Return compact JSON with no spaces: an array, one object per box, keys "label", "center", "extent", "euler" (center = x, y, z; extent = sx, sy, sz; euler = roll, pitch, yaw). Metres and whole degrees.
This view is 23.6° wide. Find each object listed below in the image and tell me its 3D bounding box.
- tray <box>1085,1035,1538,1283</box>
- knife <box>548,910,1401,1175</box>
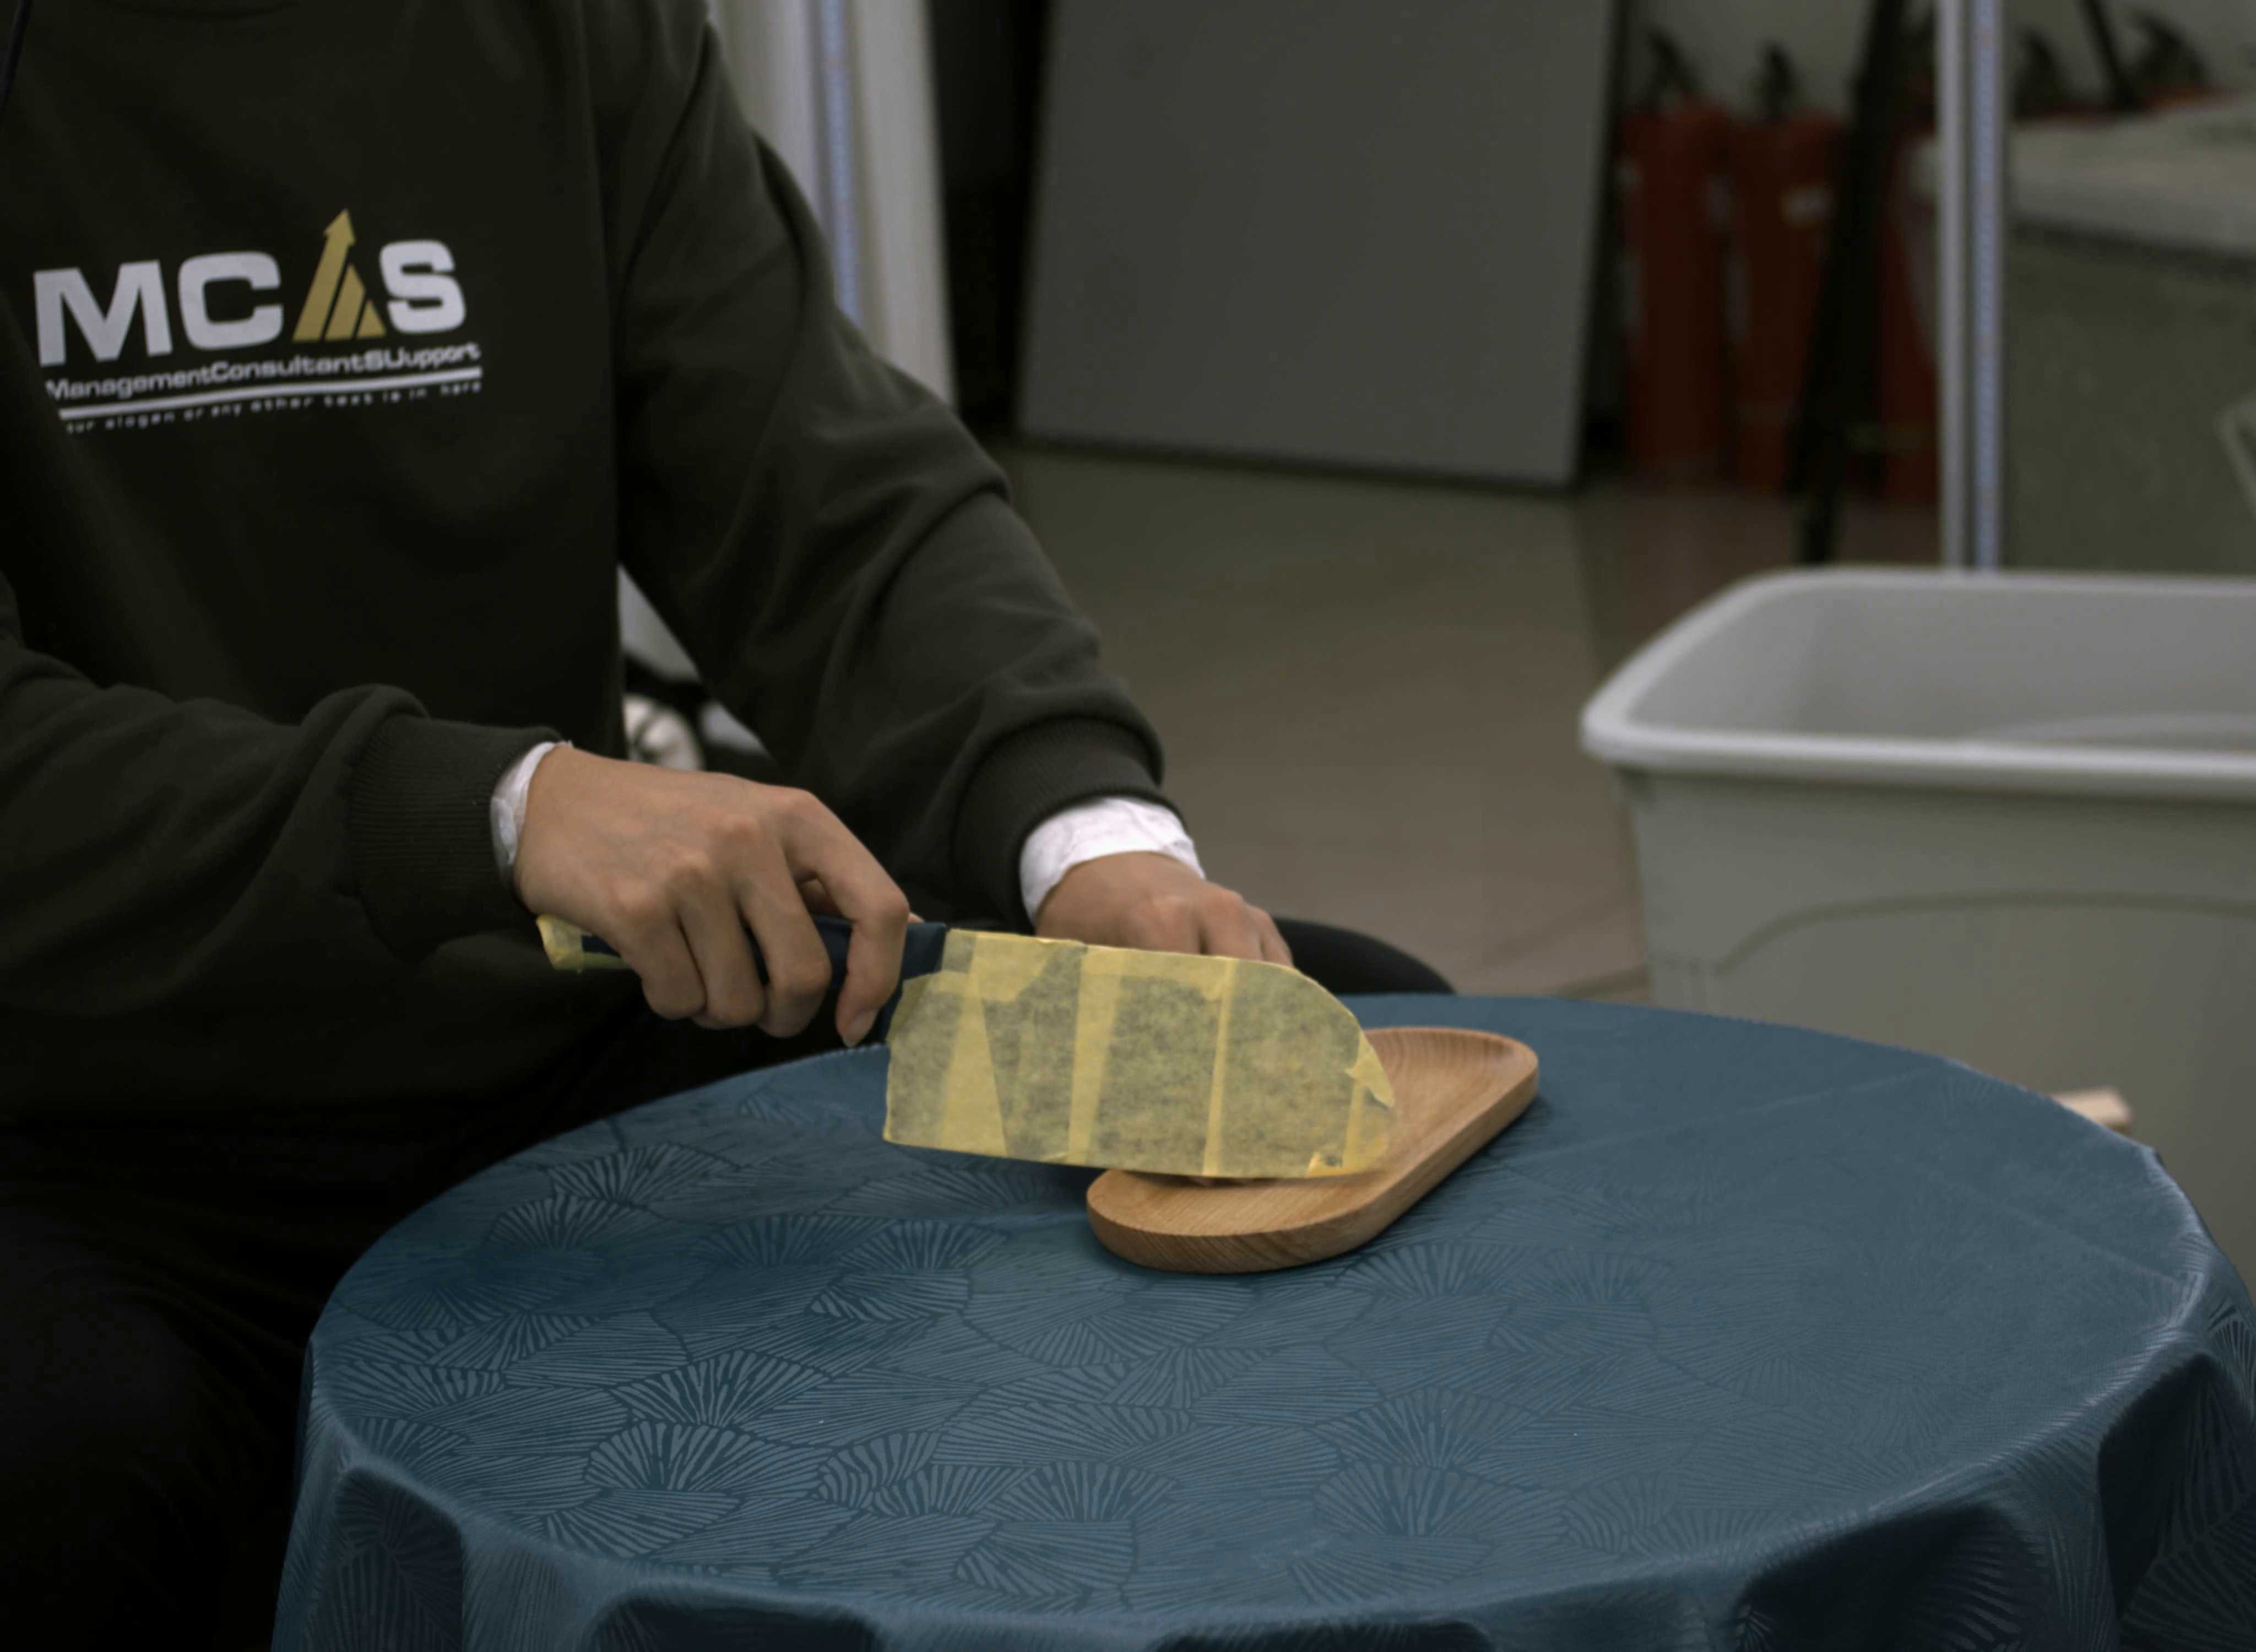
[{"label":"tray","center":[0.064,0.108,1.778],"extent":[0.102,0.020,0.228],"euler":[0,16,26]},{"label":"knife","center":[-0.051,0.069,1.759],"extent":[0.287,0.082,0.027],"euler":[8,-6,8]}]
